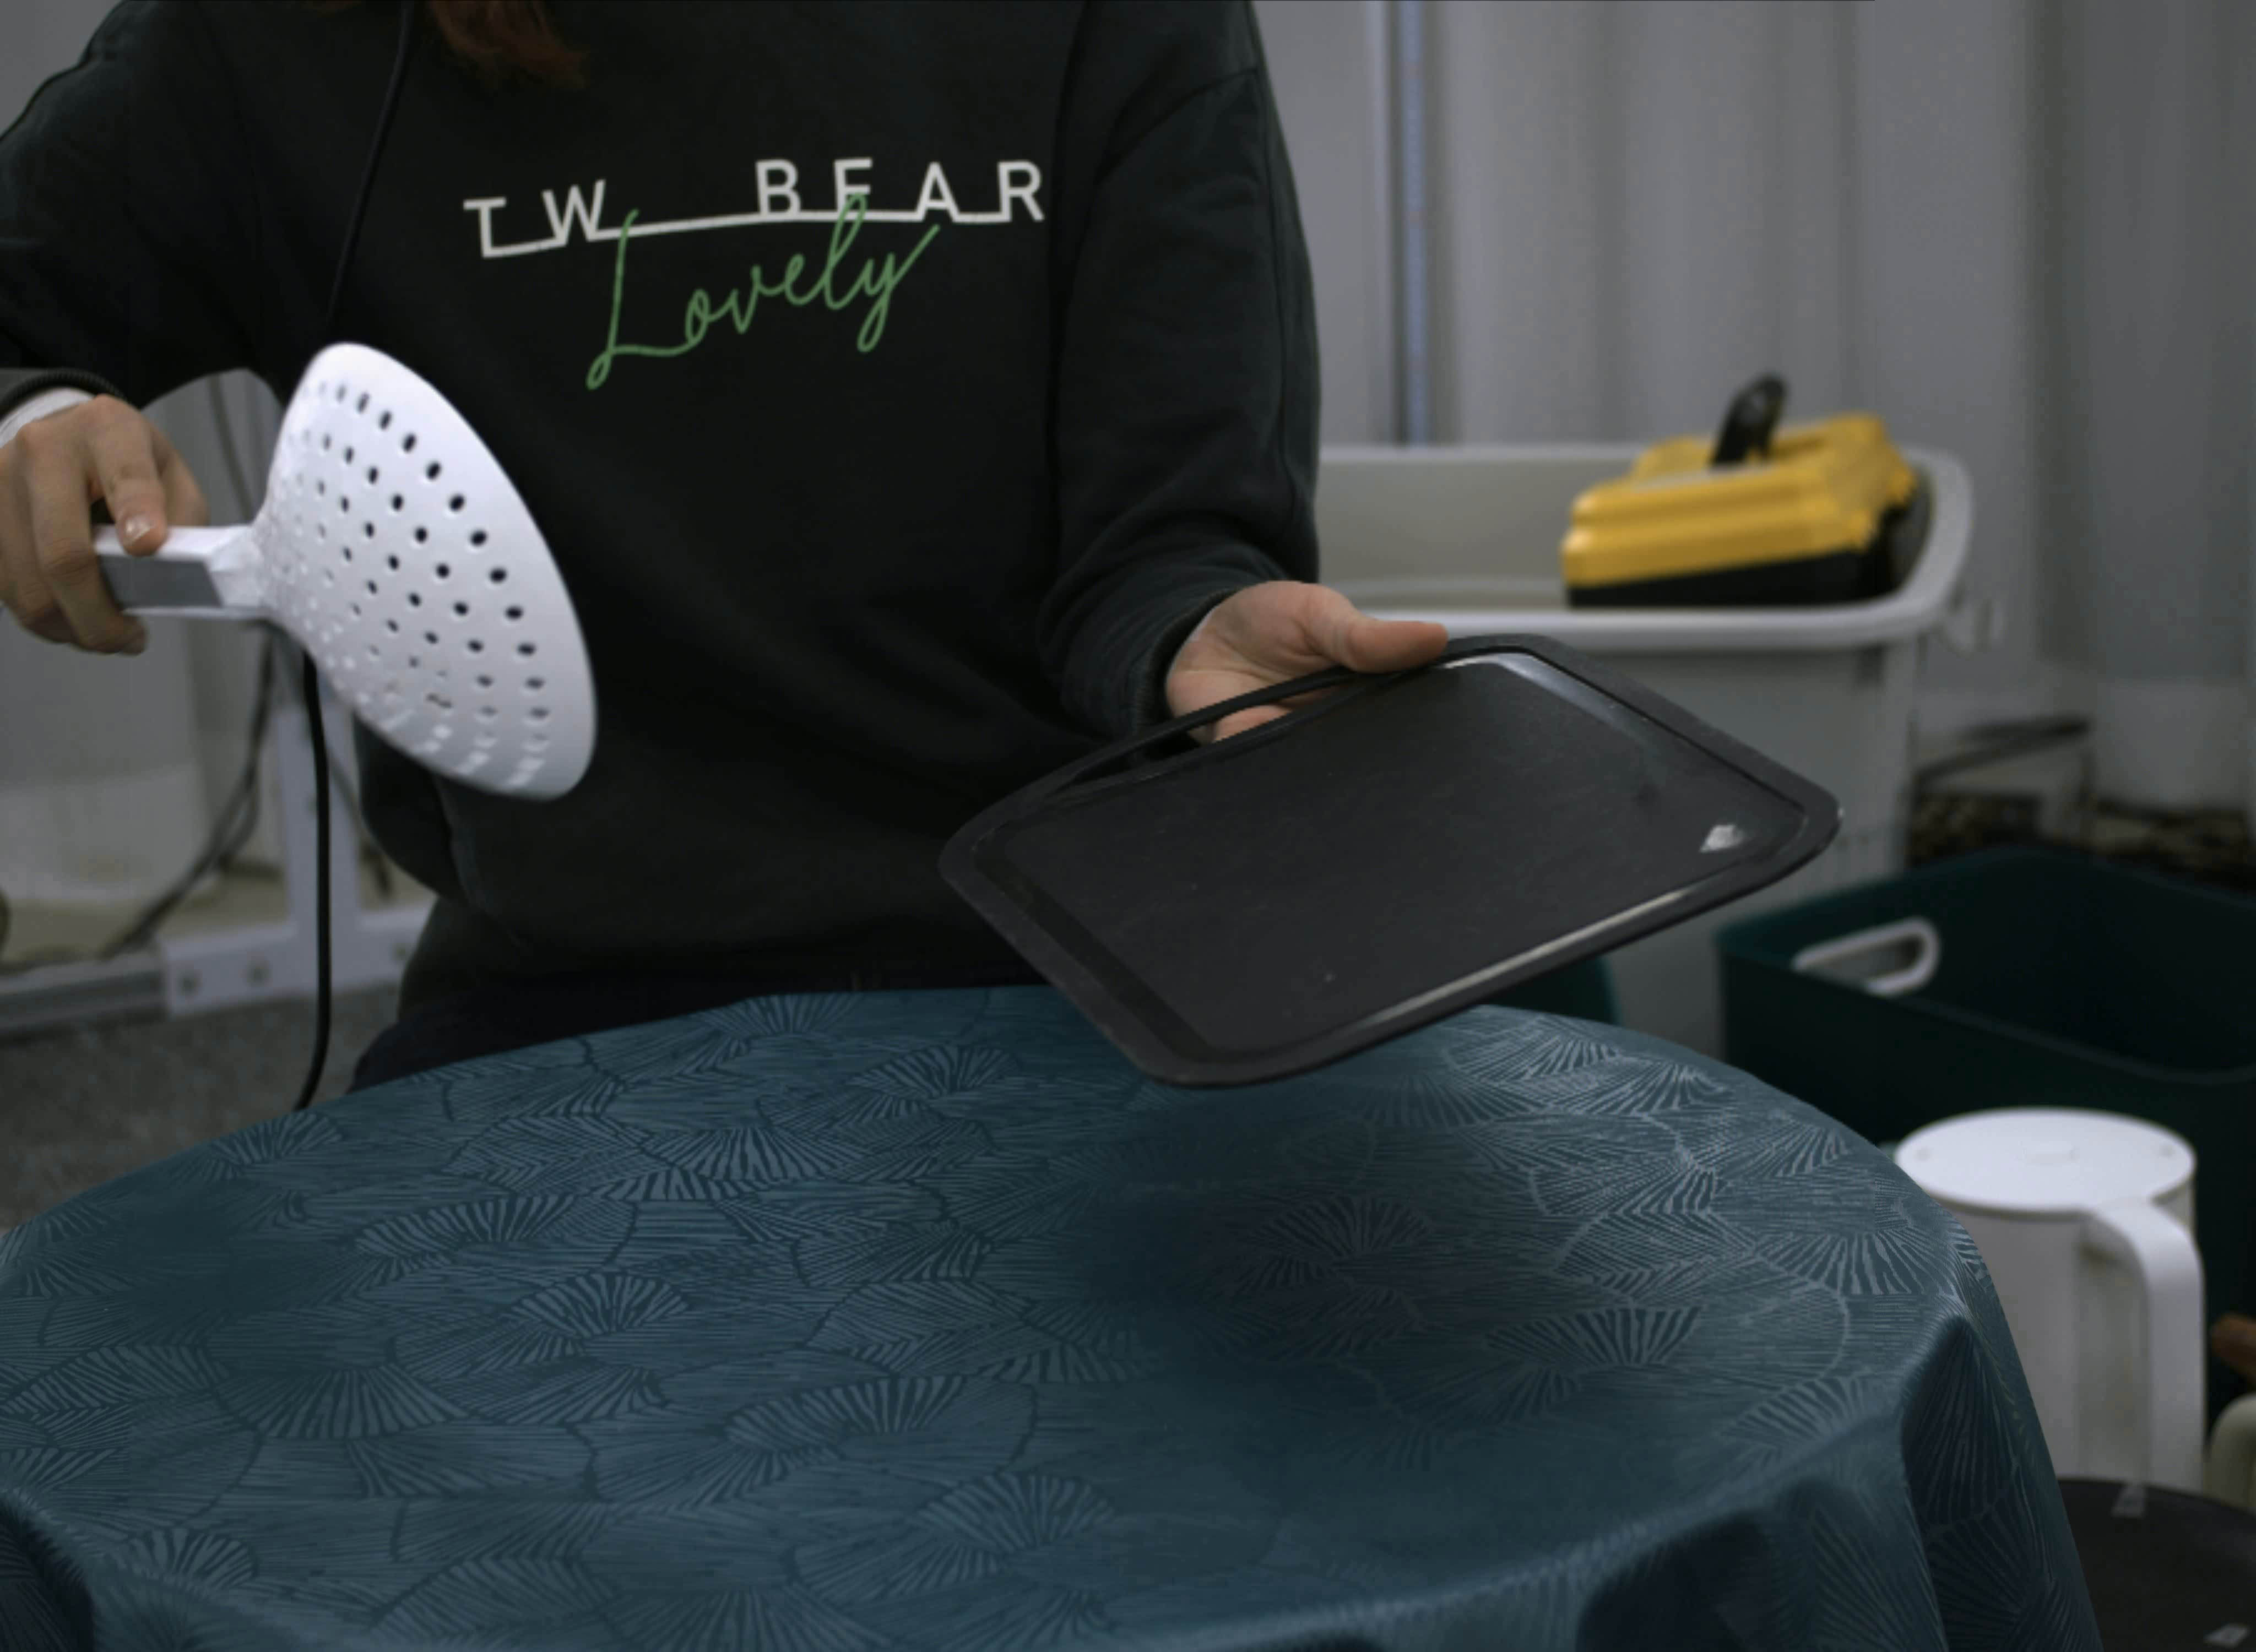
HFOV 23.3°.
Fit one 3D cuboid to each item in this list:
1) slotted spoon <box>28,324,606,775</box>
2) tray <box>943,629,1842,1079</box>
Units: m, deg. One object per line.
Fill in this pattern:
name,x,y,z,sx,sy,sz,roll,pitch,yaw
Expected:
slotted spoon,-0.246,-0.076,1.581,0.046,0.135,0.351,-29,17,-22
tray,0.065,0.000,1.608,0.210,0.010,0.328,-21,19,-11
